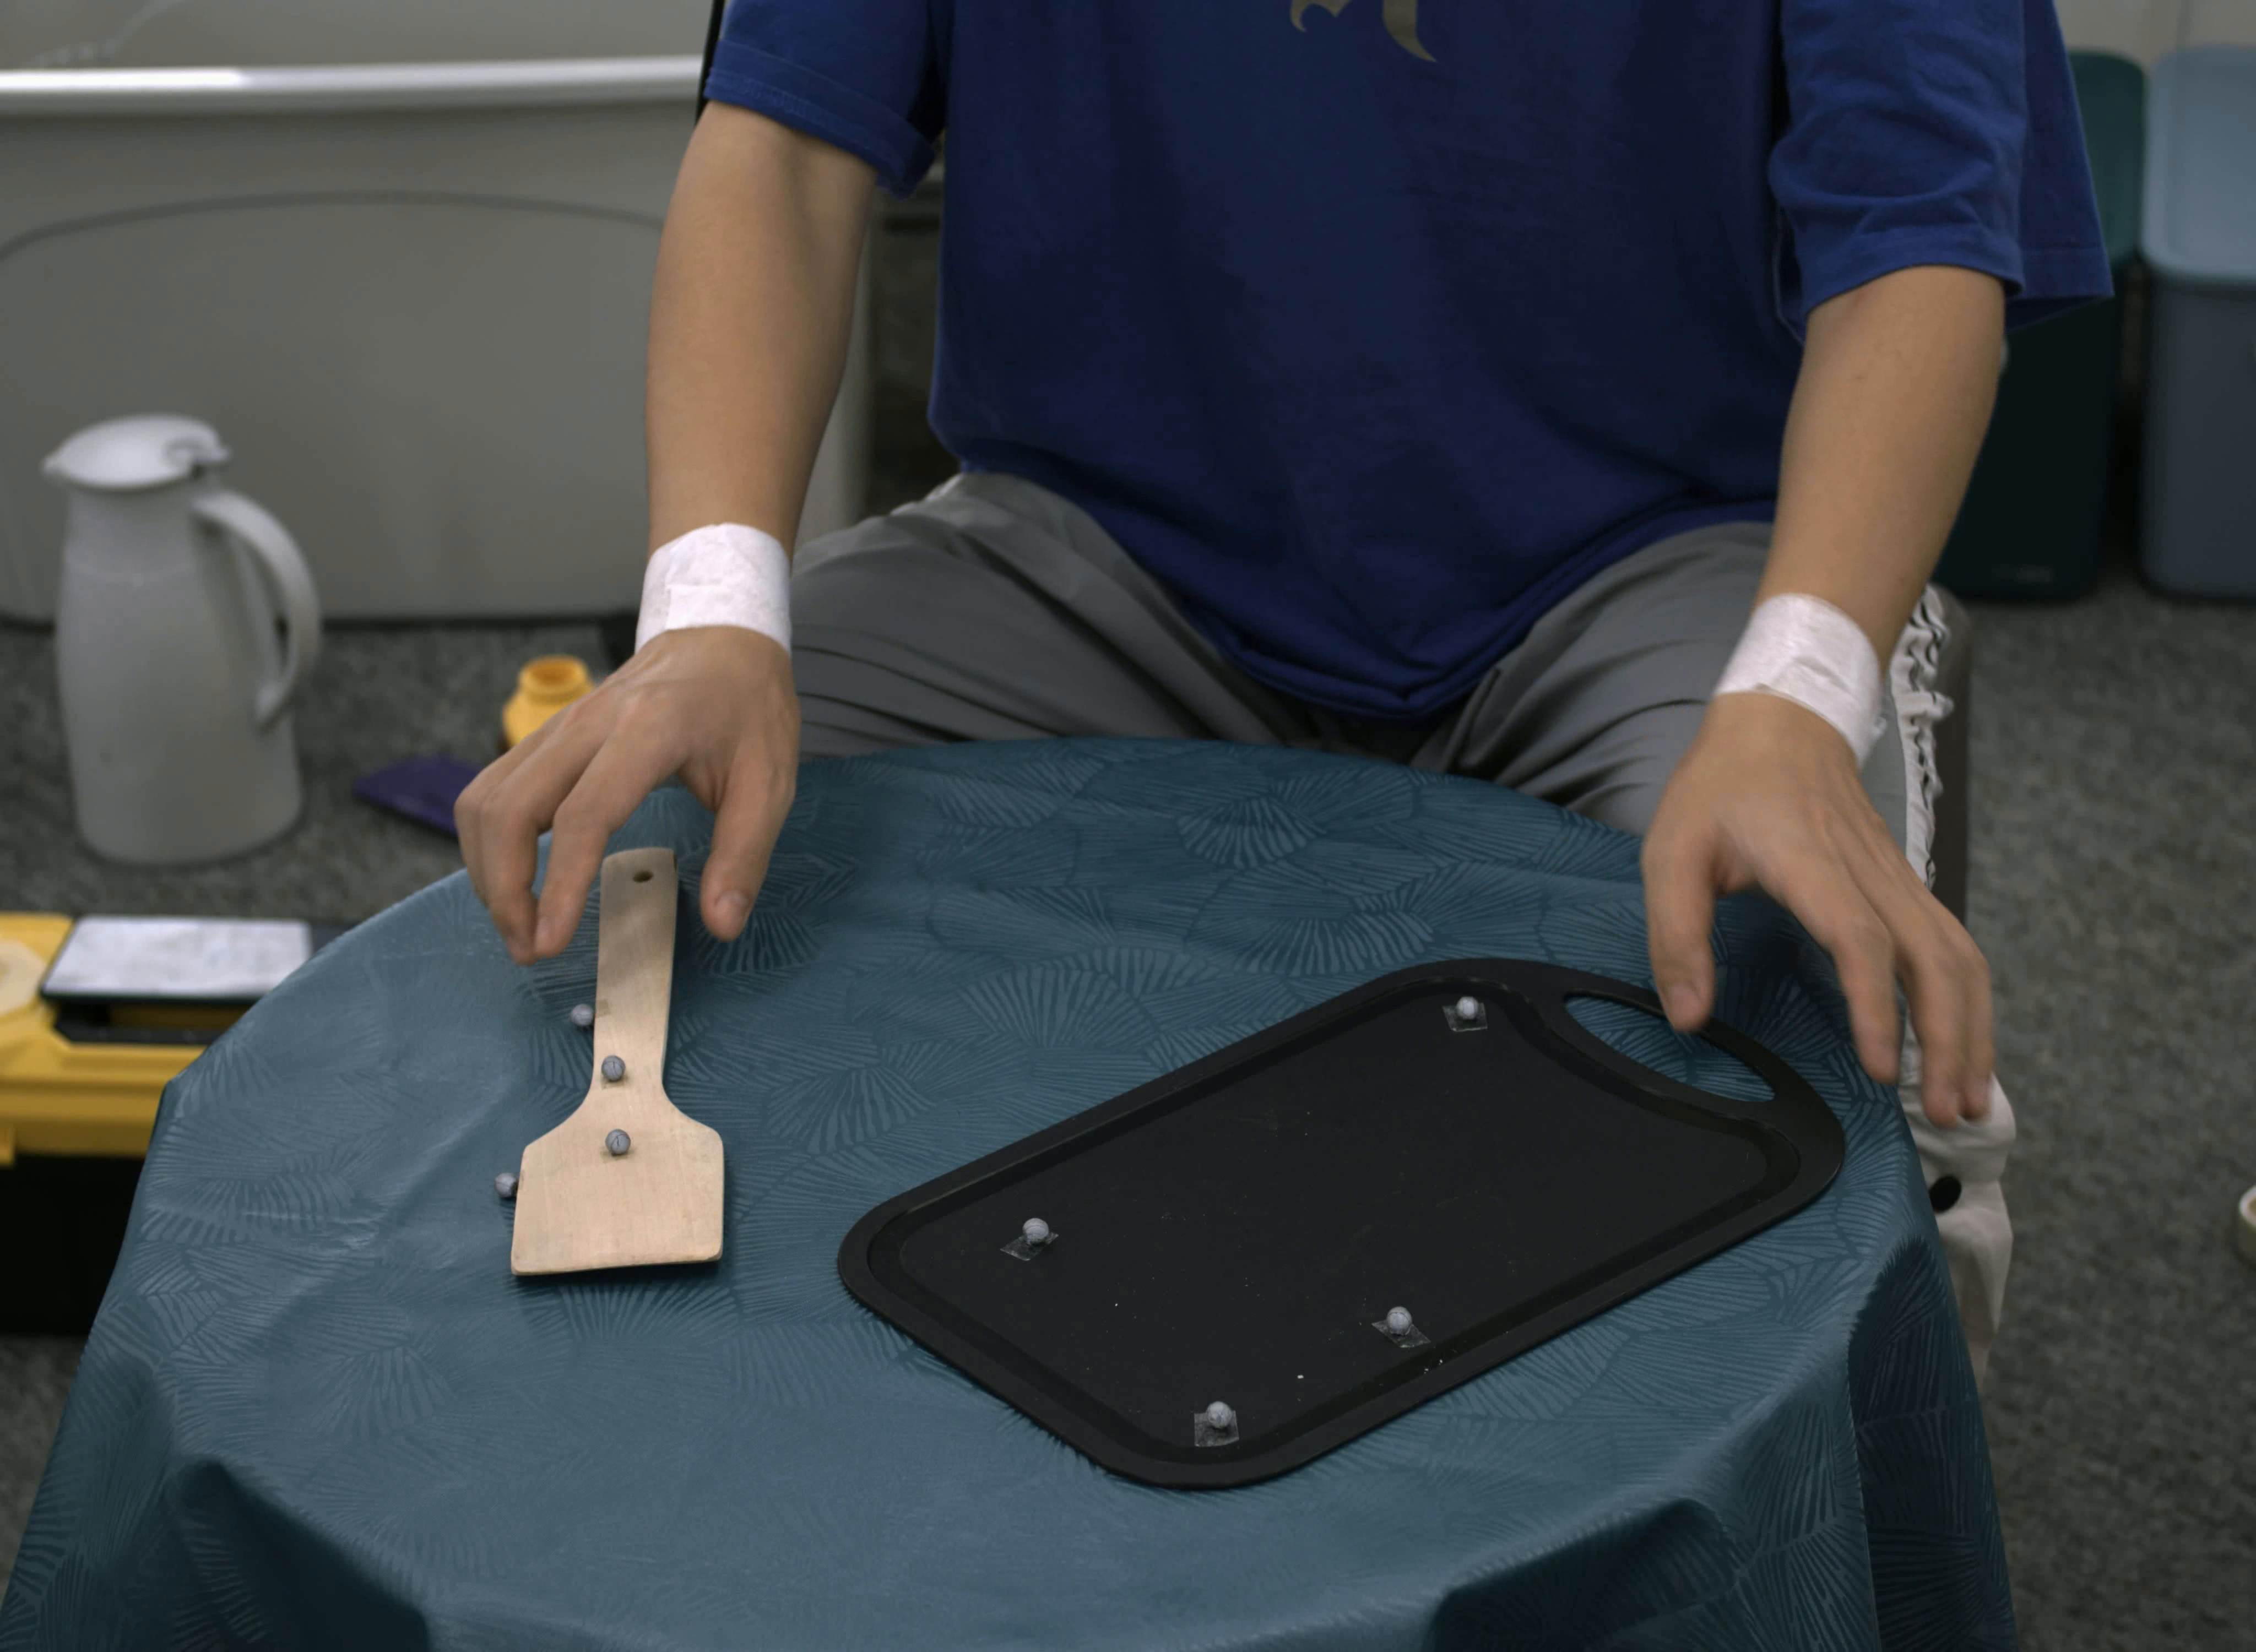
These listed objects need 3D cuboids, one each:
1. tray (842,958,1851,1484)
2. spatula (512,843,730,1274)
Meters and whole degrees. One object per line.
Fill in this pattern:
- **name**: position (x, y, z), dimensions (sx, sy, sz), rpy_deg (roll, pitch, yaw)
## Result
- **tray**: position (0.078, 0.119, 1.850), dimensions (0.328, 0.009, 0.211), rpy_deg (-22, 33, -32)
- **spatula**: position (-0.173, 0.077, 1.954), dimensions (0.072, 0.010, 0.297), rpy_deg (-5, 28, -1)
